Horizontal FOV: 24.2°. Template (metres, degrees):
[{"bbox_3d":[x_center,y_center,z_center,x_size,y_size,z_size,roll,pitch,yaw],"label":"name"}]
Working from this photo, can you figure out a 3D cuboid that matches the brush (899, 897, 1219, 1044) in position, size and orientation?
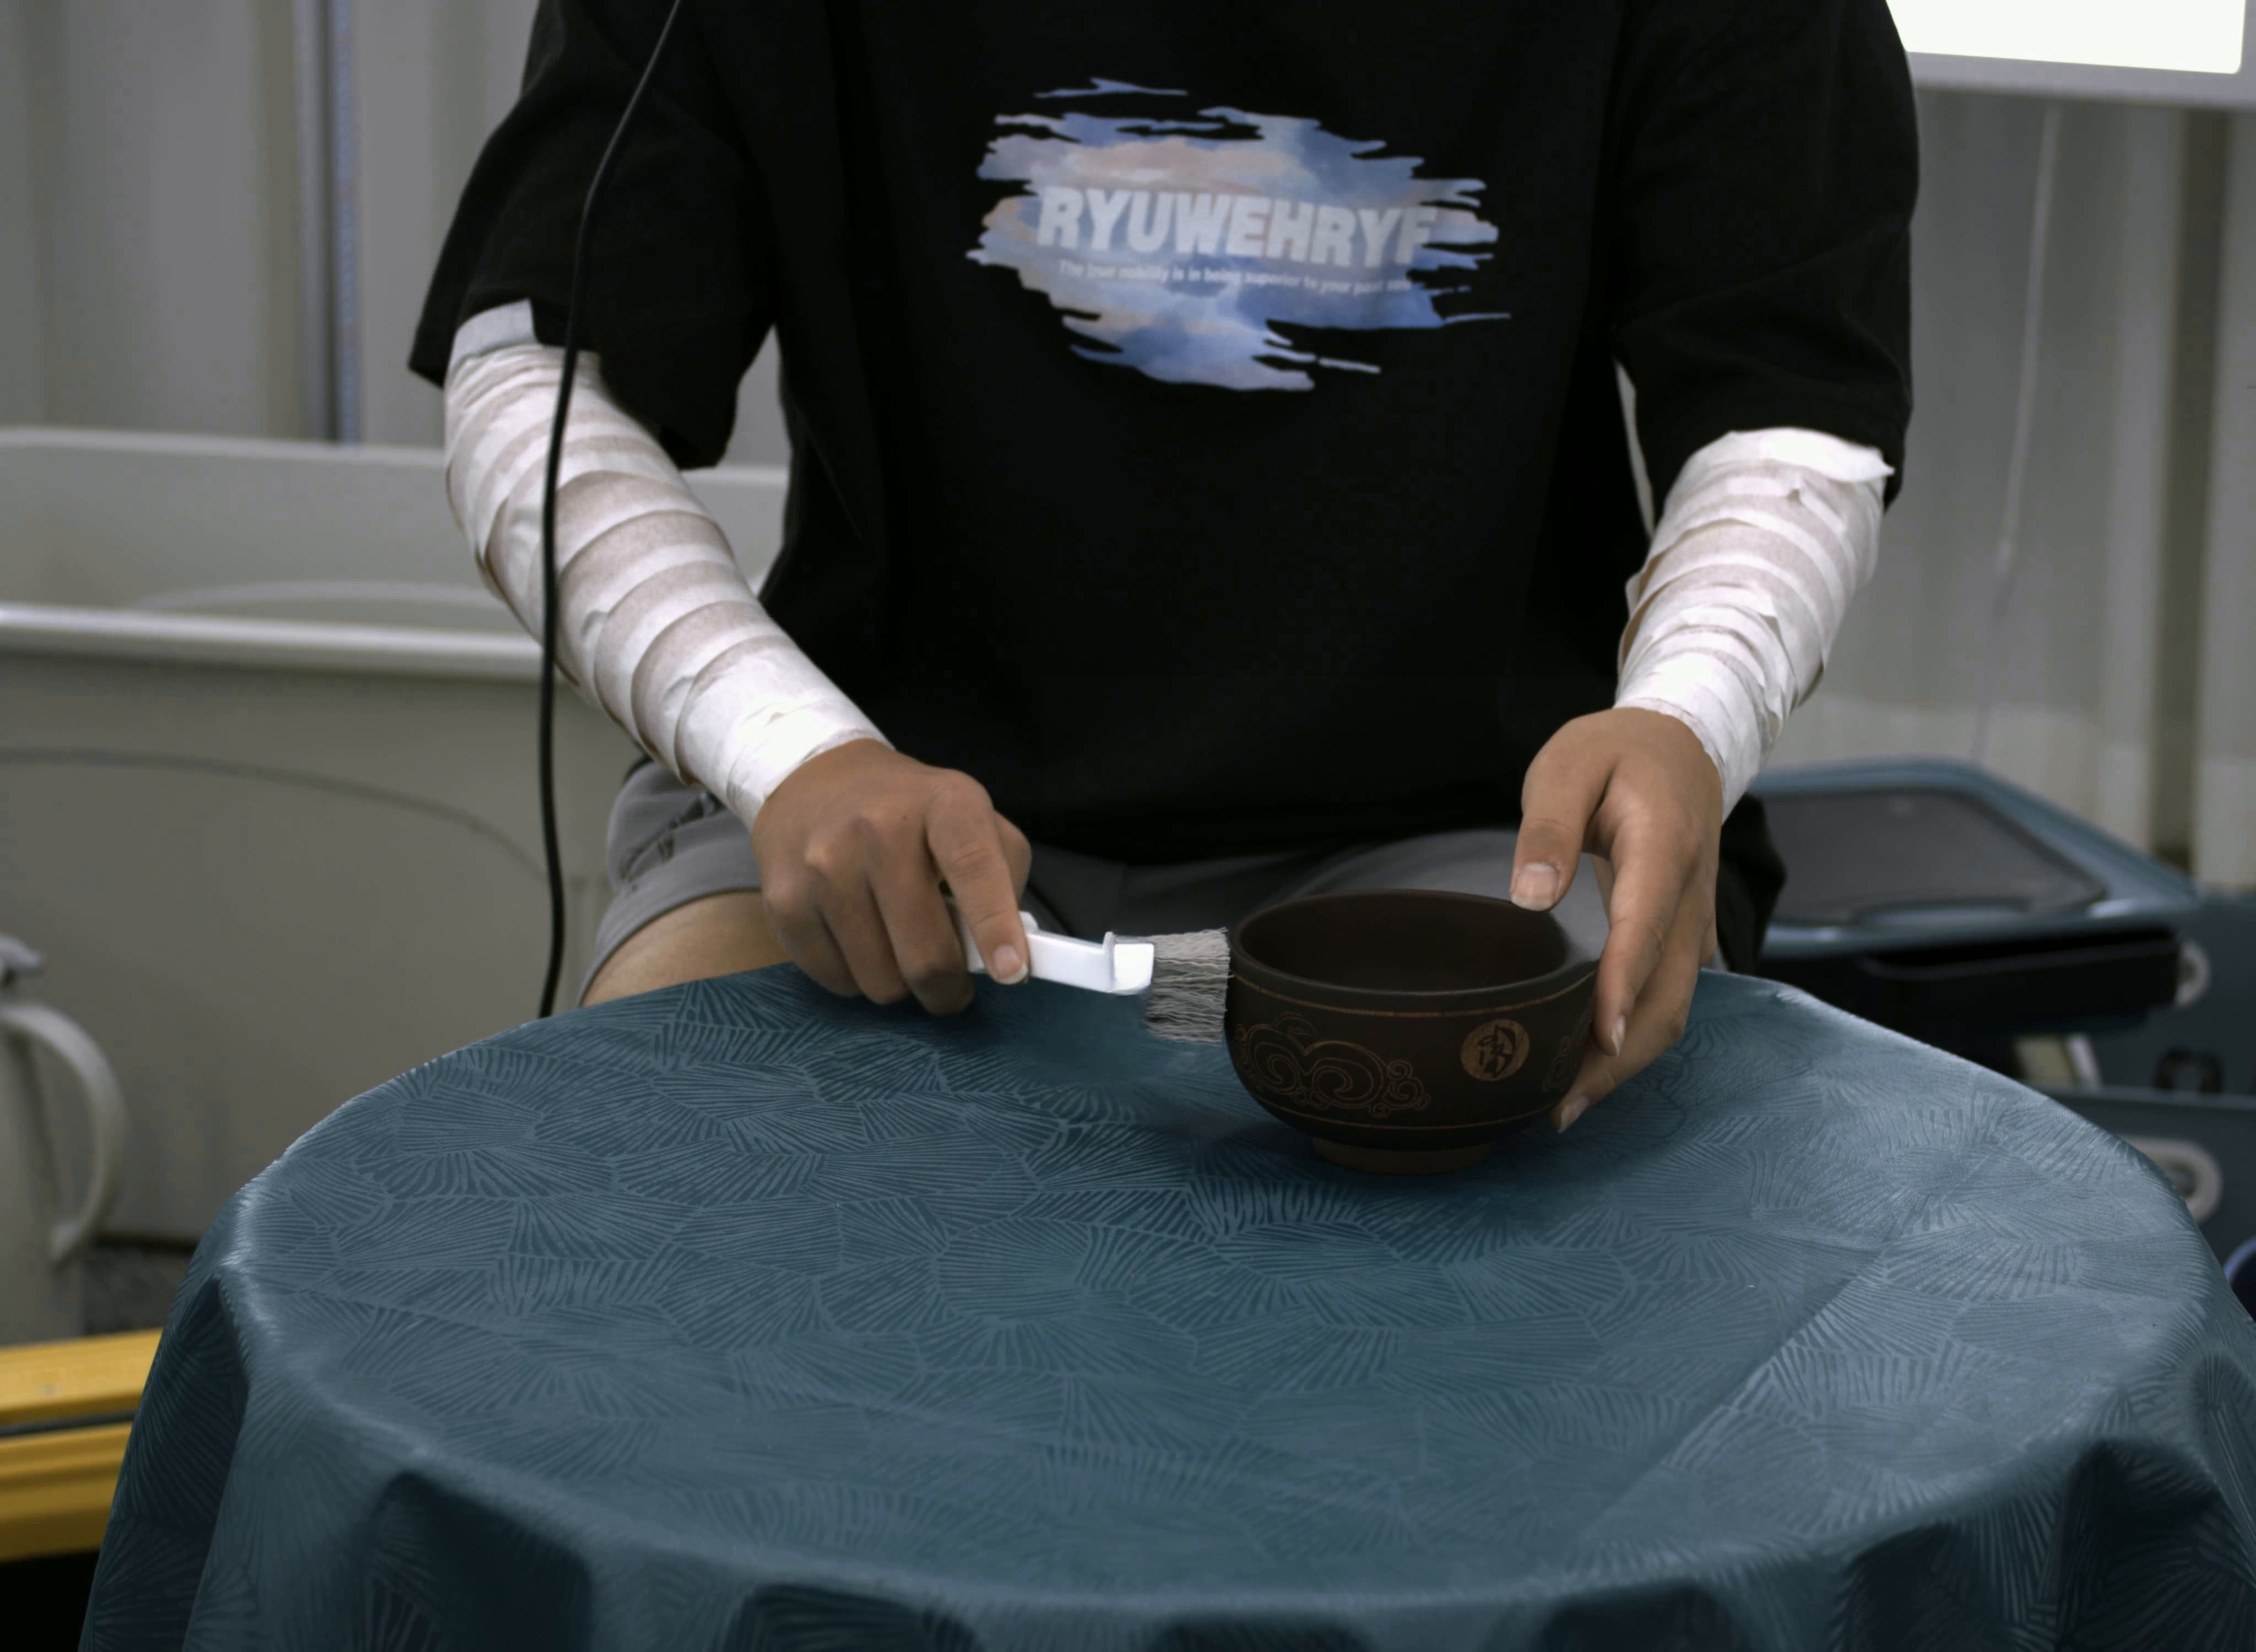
[{"bbox_3d":[-0.021,0.045,1.738,0.050,0.034,0.242,6,1,-20],"label":"brush"}]

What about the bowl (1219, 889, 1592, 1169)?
[{"bbox_3d":[0.087,0.067,1.656,0.117,0.070,0.117,0,13,1],"label":"bowl"}]
